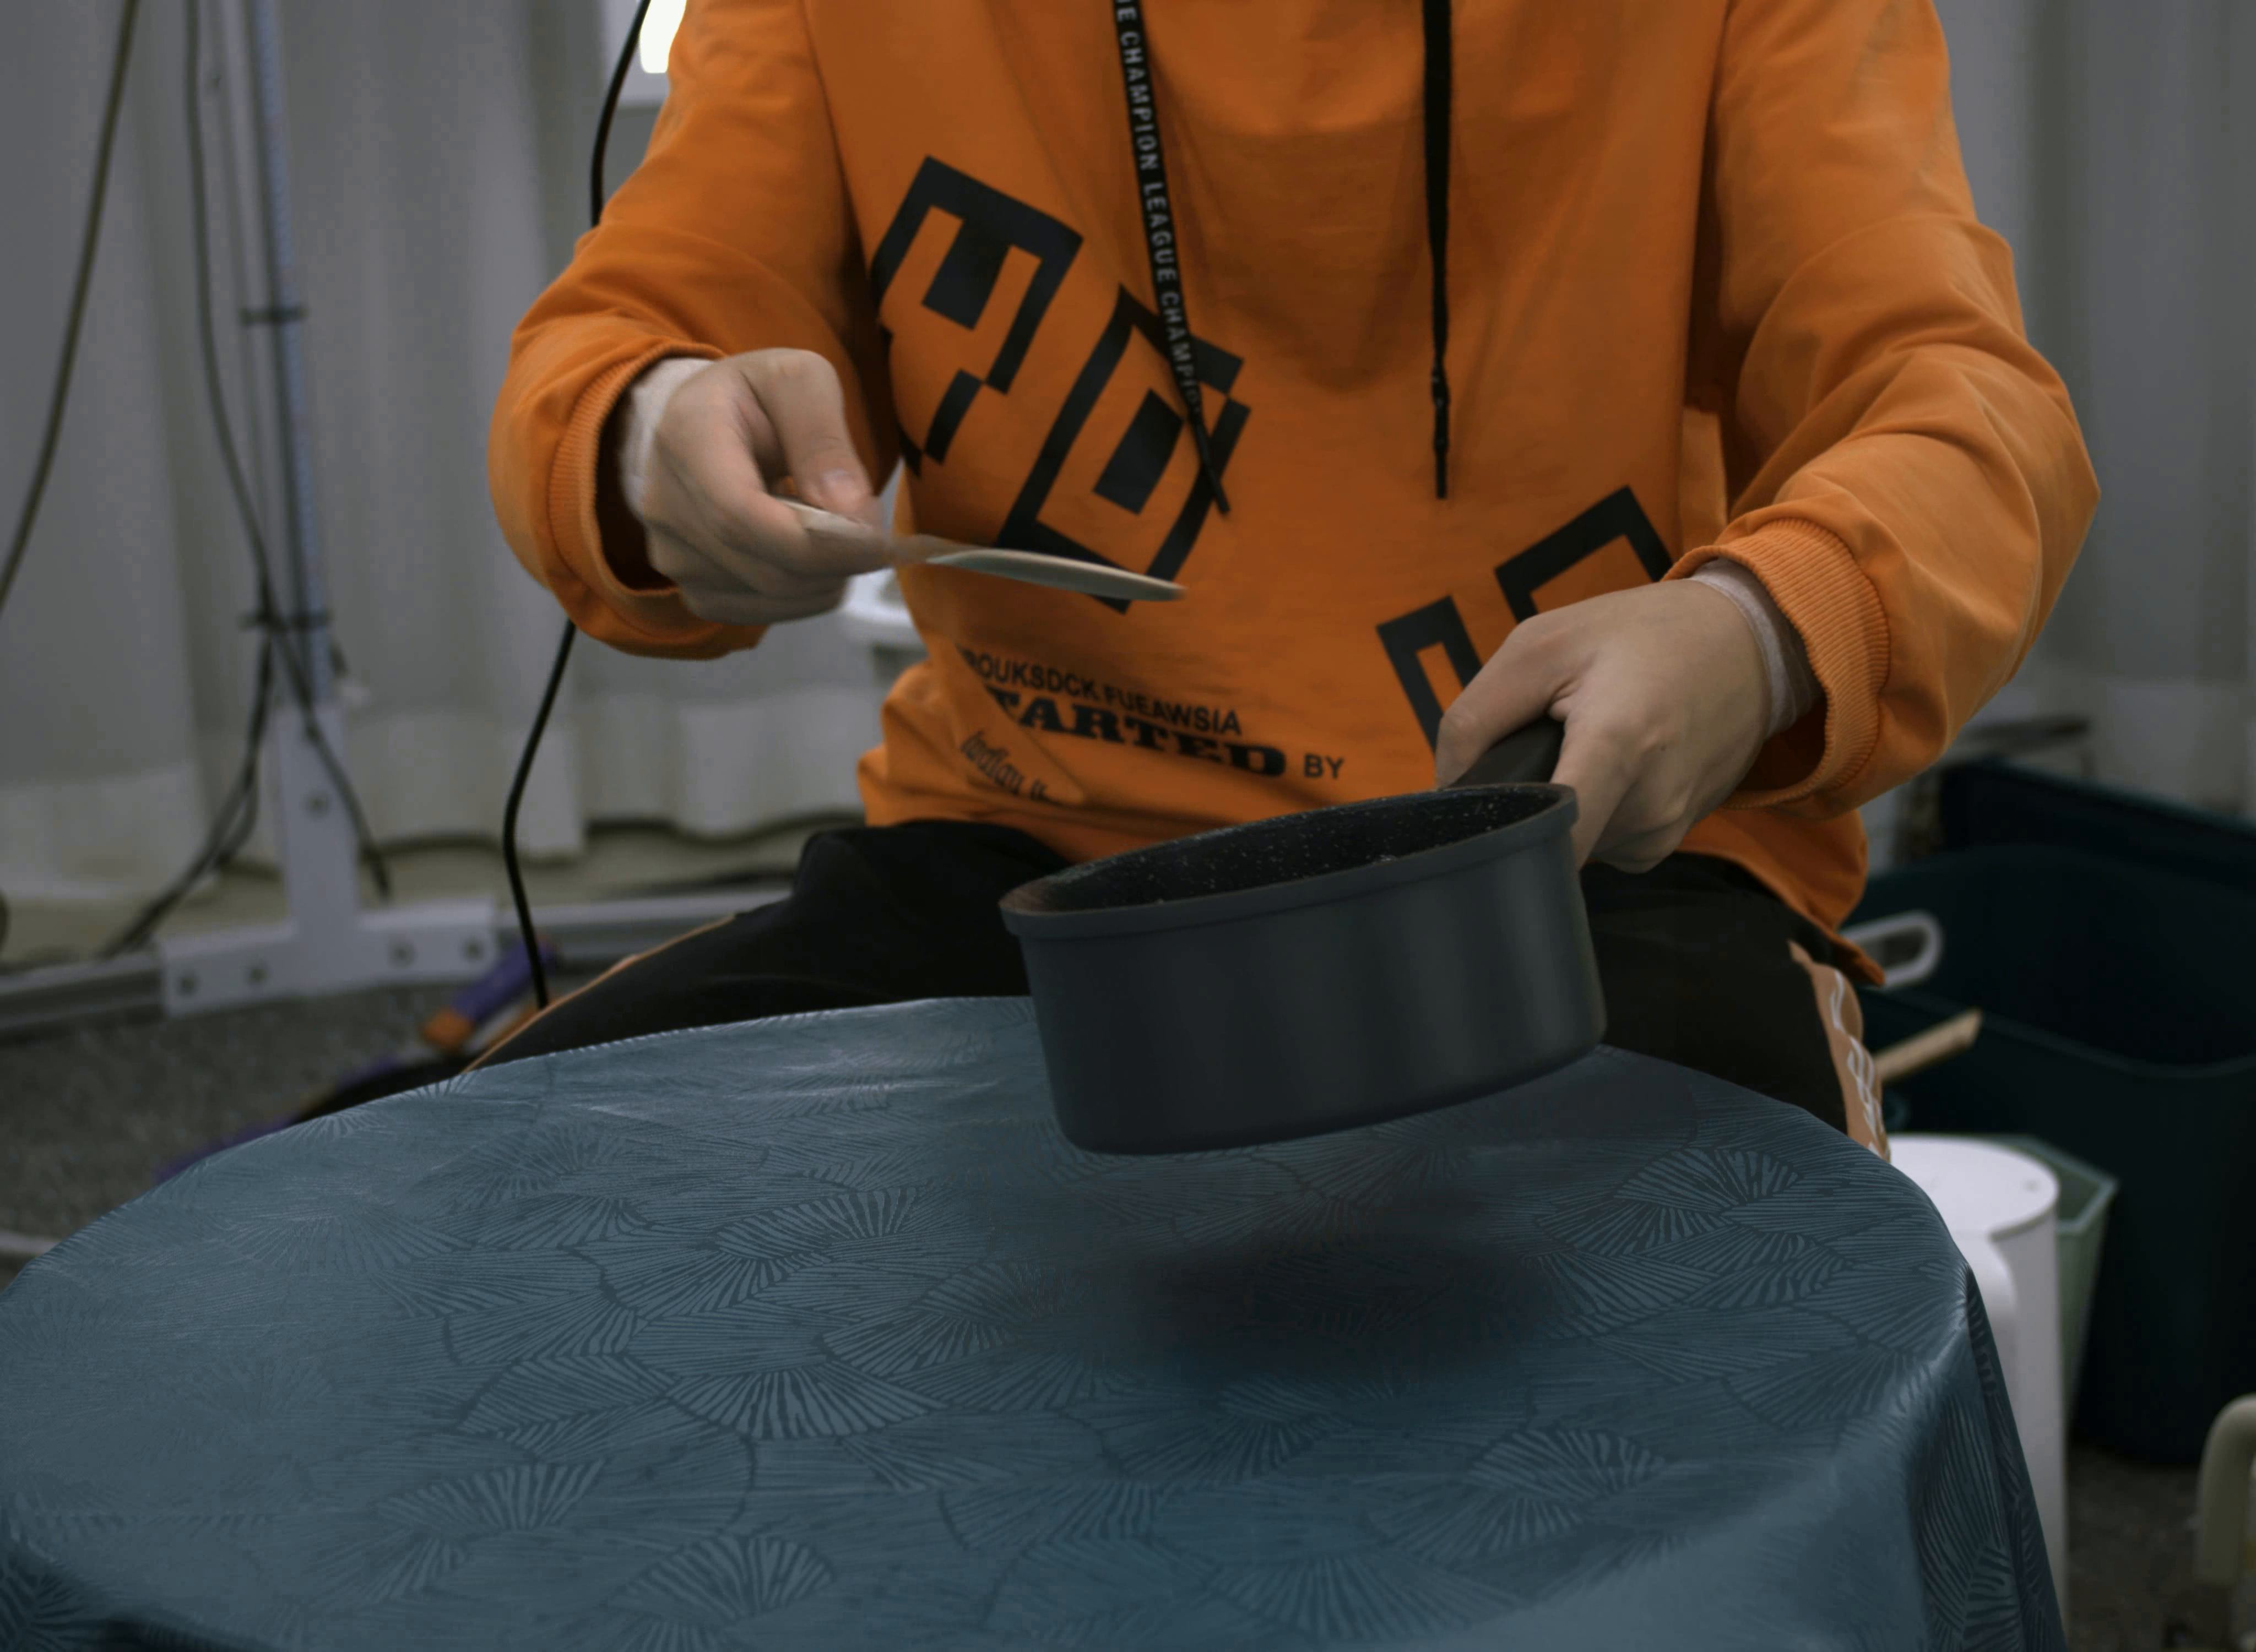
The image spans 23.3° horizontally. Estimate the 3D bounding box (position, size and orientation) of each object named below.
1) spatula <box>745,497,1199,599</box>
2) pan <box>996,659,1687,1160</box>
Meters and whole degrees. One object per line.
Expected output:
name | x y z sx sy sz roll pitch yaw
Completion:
spatula | -0.064 -0.087 1.689 0.072 0.010 0.294 4 6 -22
pan | 0.091 0.023 1.658 0.172 0.086 0.329 -6 9 32
